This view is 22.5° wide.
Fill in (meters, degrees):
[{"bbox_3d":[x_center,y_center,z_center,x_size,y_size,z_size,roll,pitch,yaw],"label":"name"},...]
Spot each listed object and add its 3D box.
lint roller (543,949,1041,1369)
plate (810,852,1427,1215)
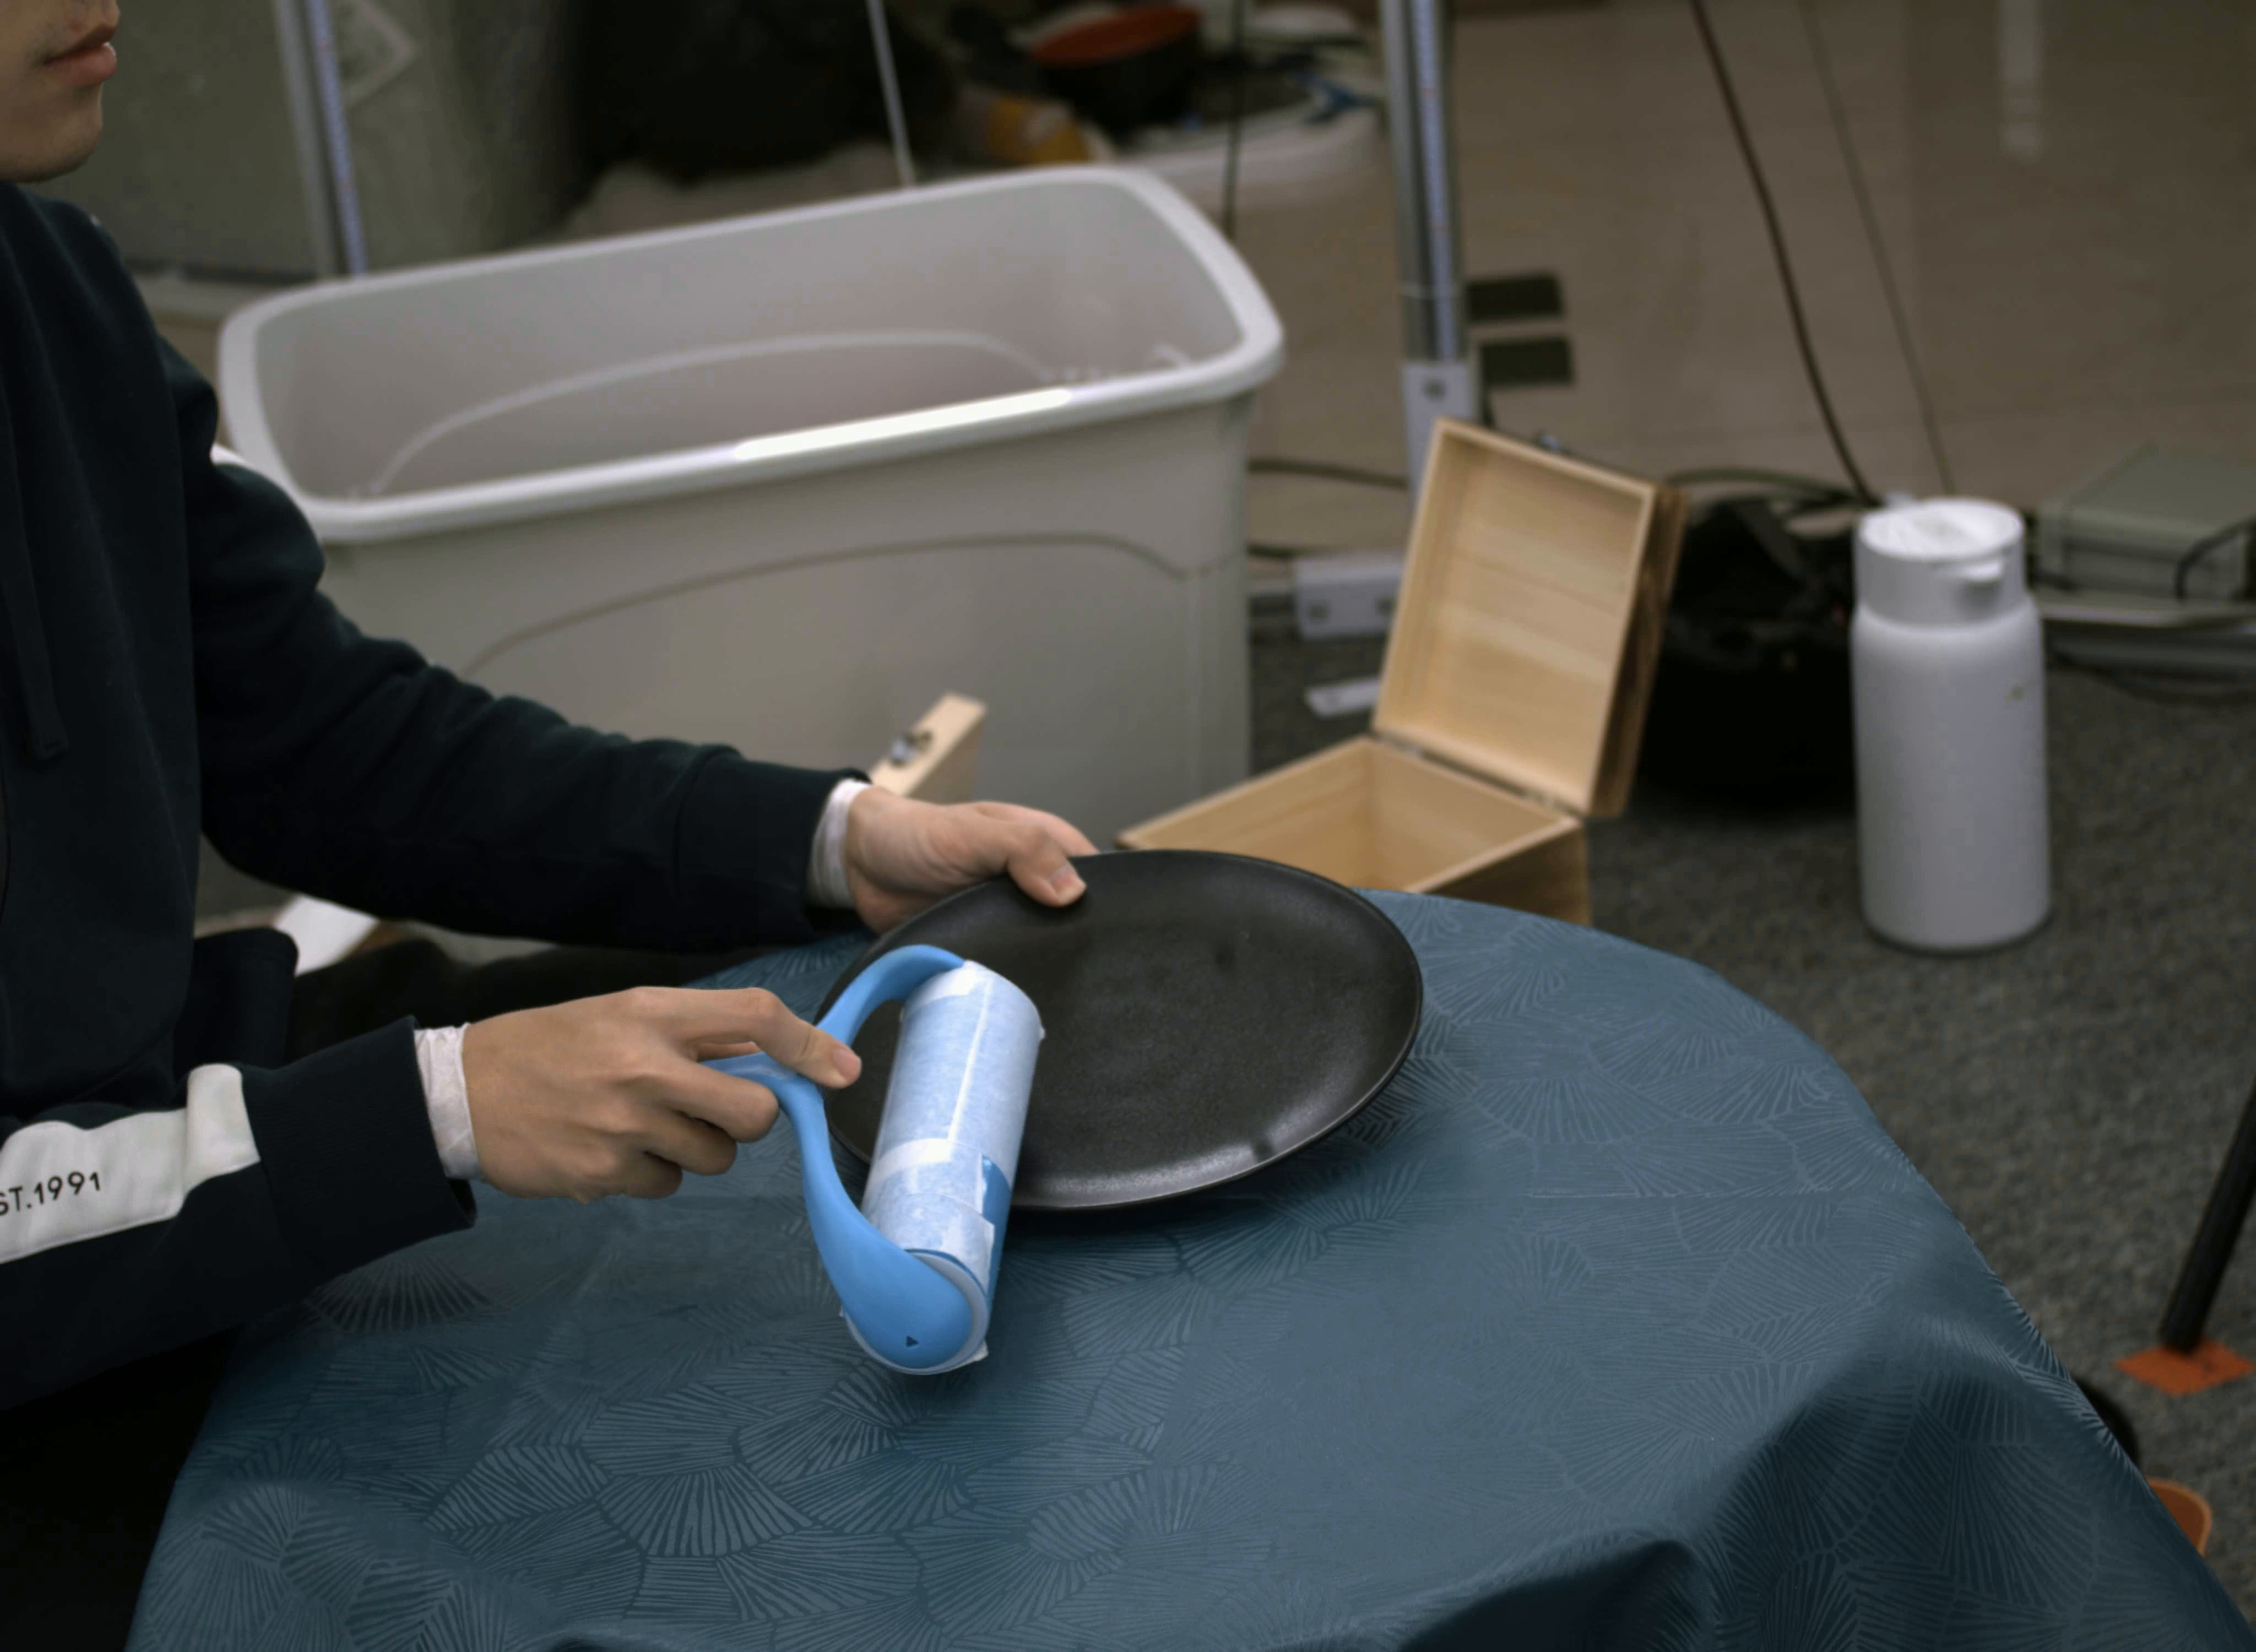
[{"bbox_3d":[-0.125,0.117,2.089,0.180,0.069,0.225,7,32,-2],"label":"lint roller"},{"bbox_3d":[-0.003,0.084,2.207,0.244,0.024,0.240,-6,33,4],"label":"plate"}]
